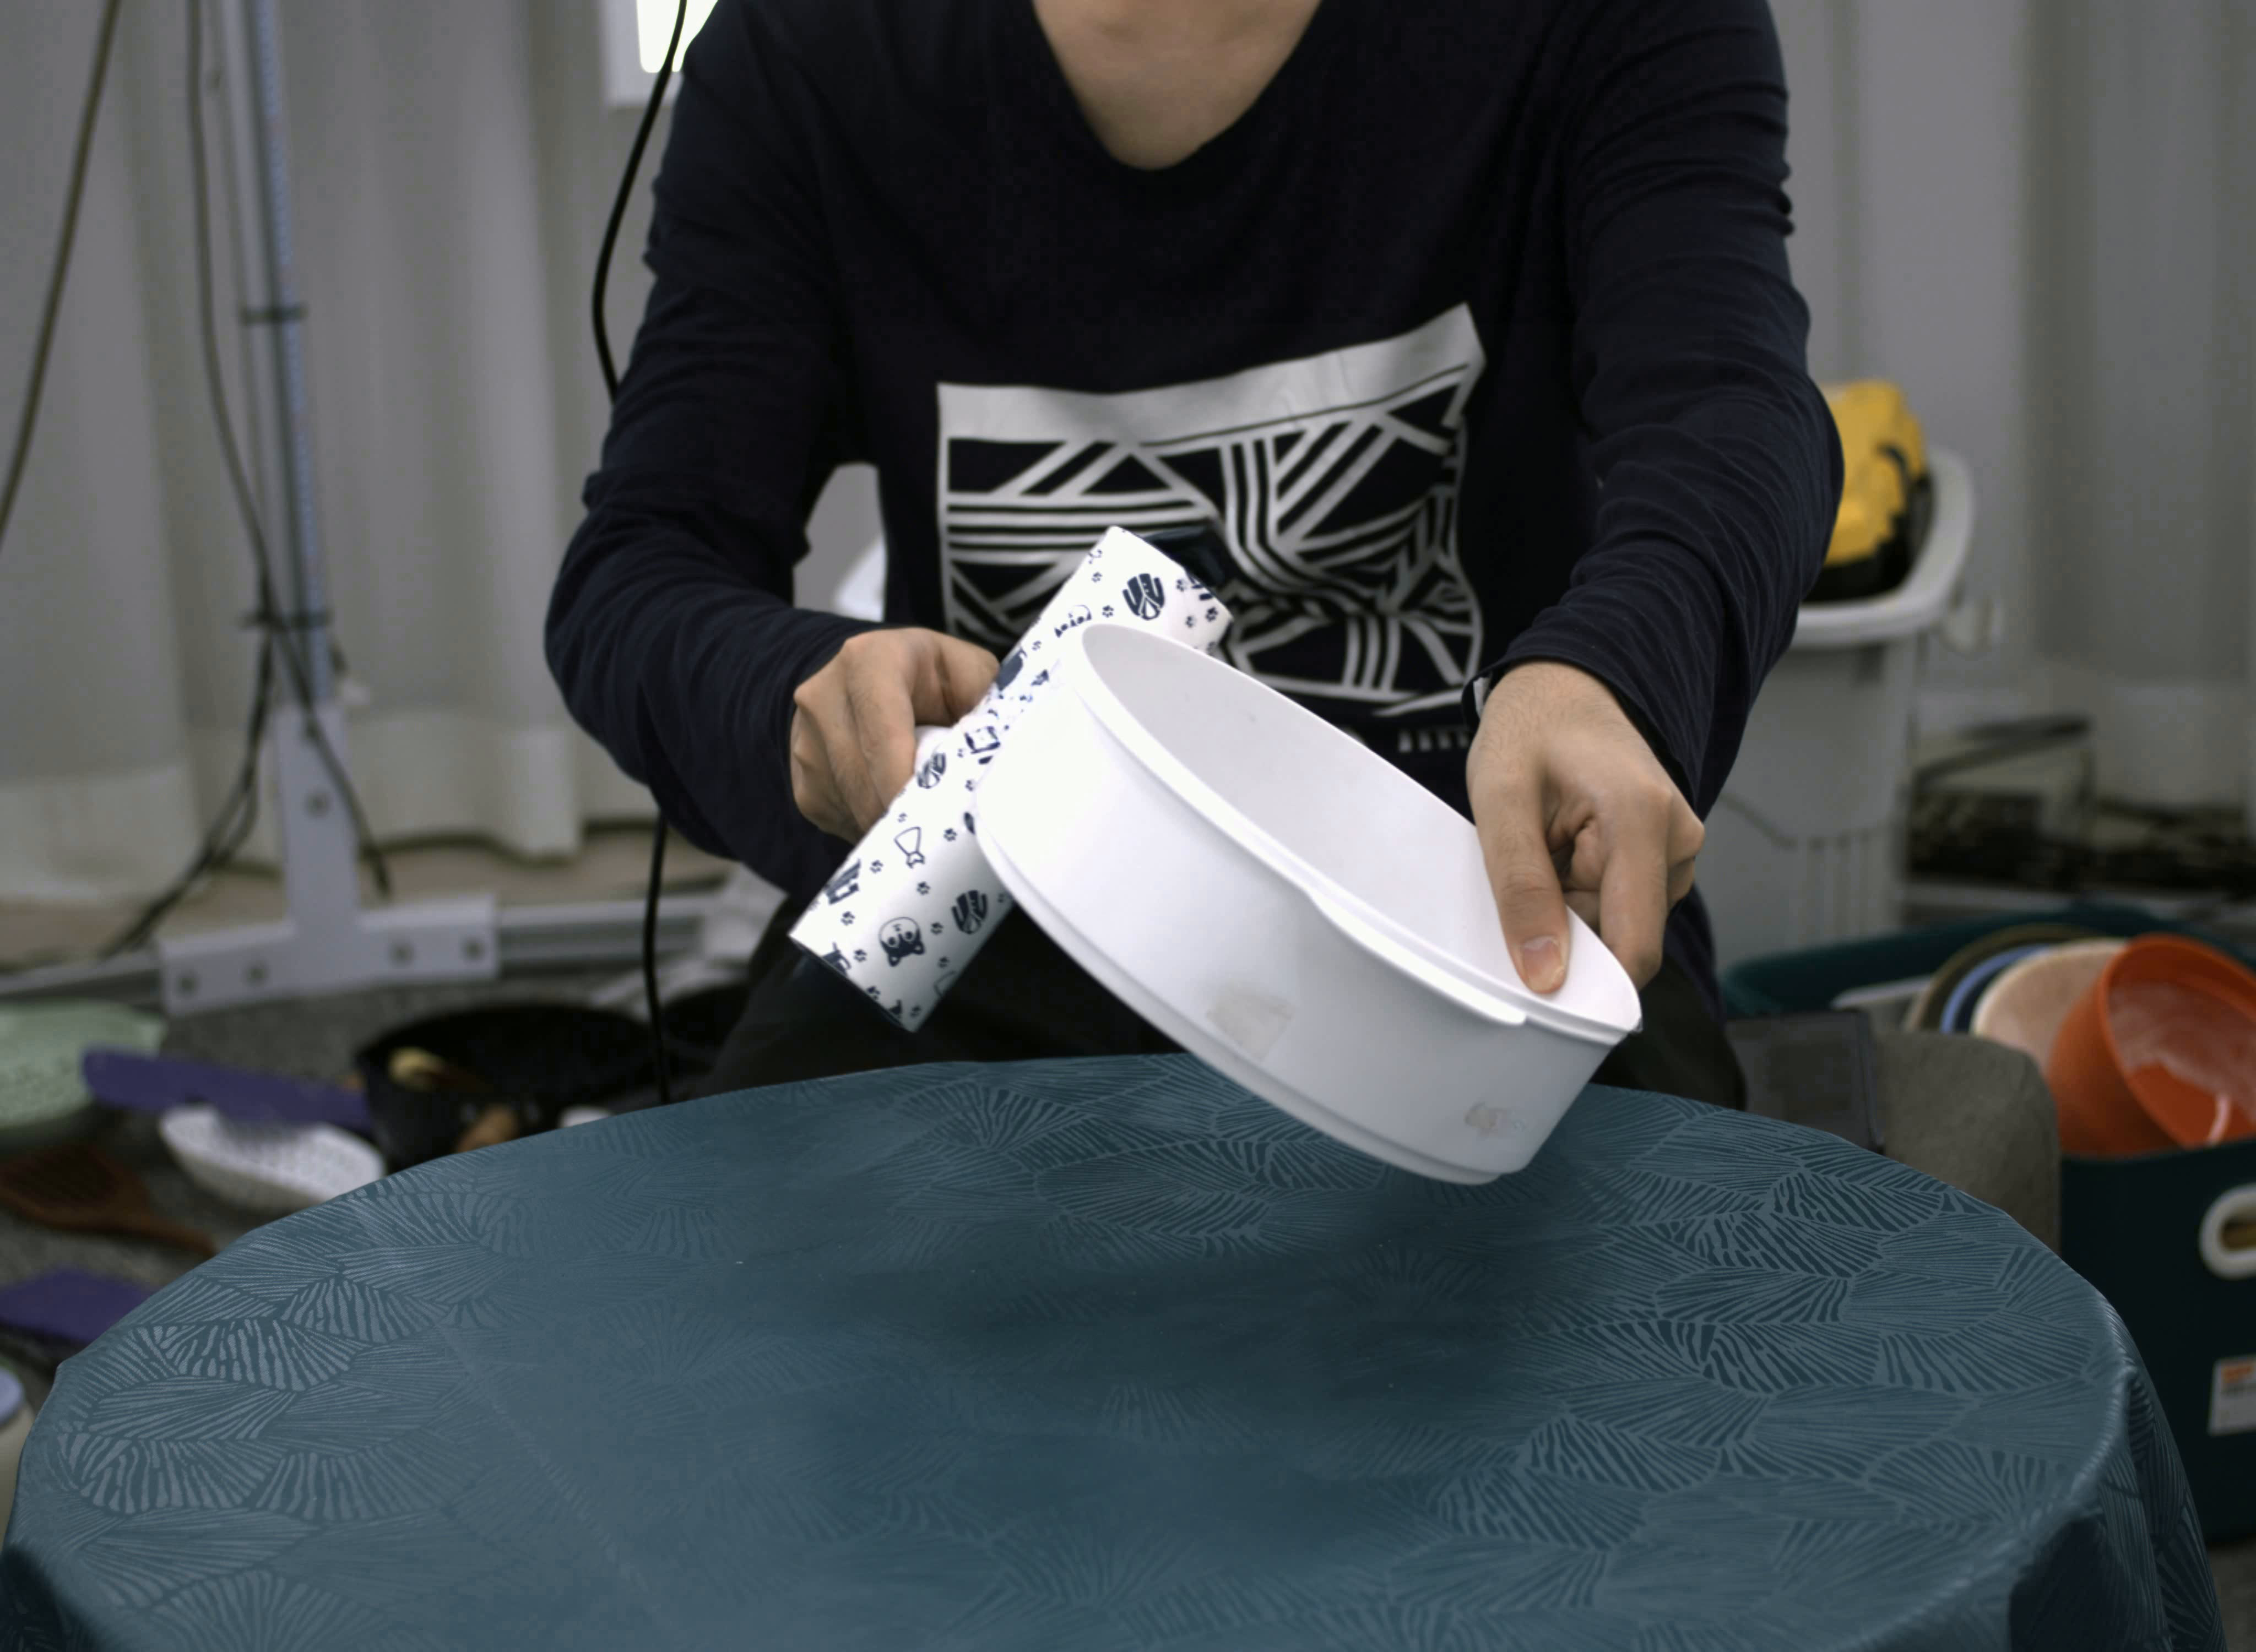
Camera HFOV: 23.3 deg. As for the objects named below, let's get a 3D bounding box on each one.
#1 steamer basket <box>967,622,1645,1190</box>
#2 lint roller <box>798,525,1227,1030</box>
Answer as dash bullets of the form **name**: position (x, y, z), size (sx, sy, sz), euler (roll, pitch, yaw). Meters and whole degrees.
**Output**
- **steamer basket**: position (0.049, 0.025, 1.565), size (0.200, 0.069, 0.233), euler (31, 11, -18)
- **lint roller**: position (-0.056, -0.016, 1.755), size (0.050, 0.177, 0.247), euler (38, -7, -11)
